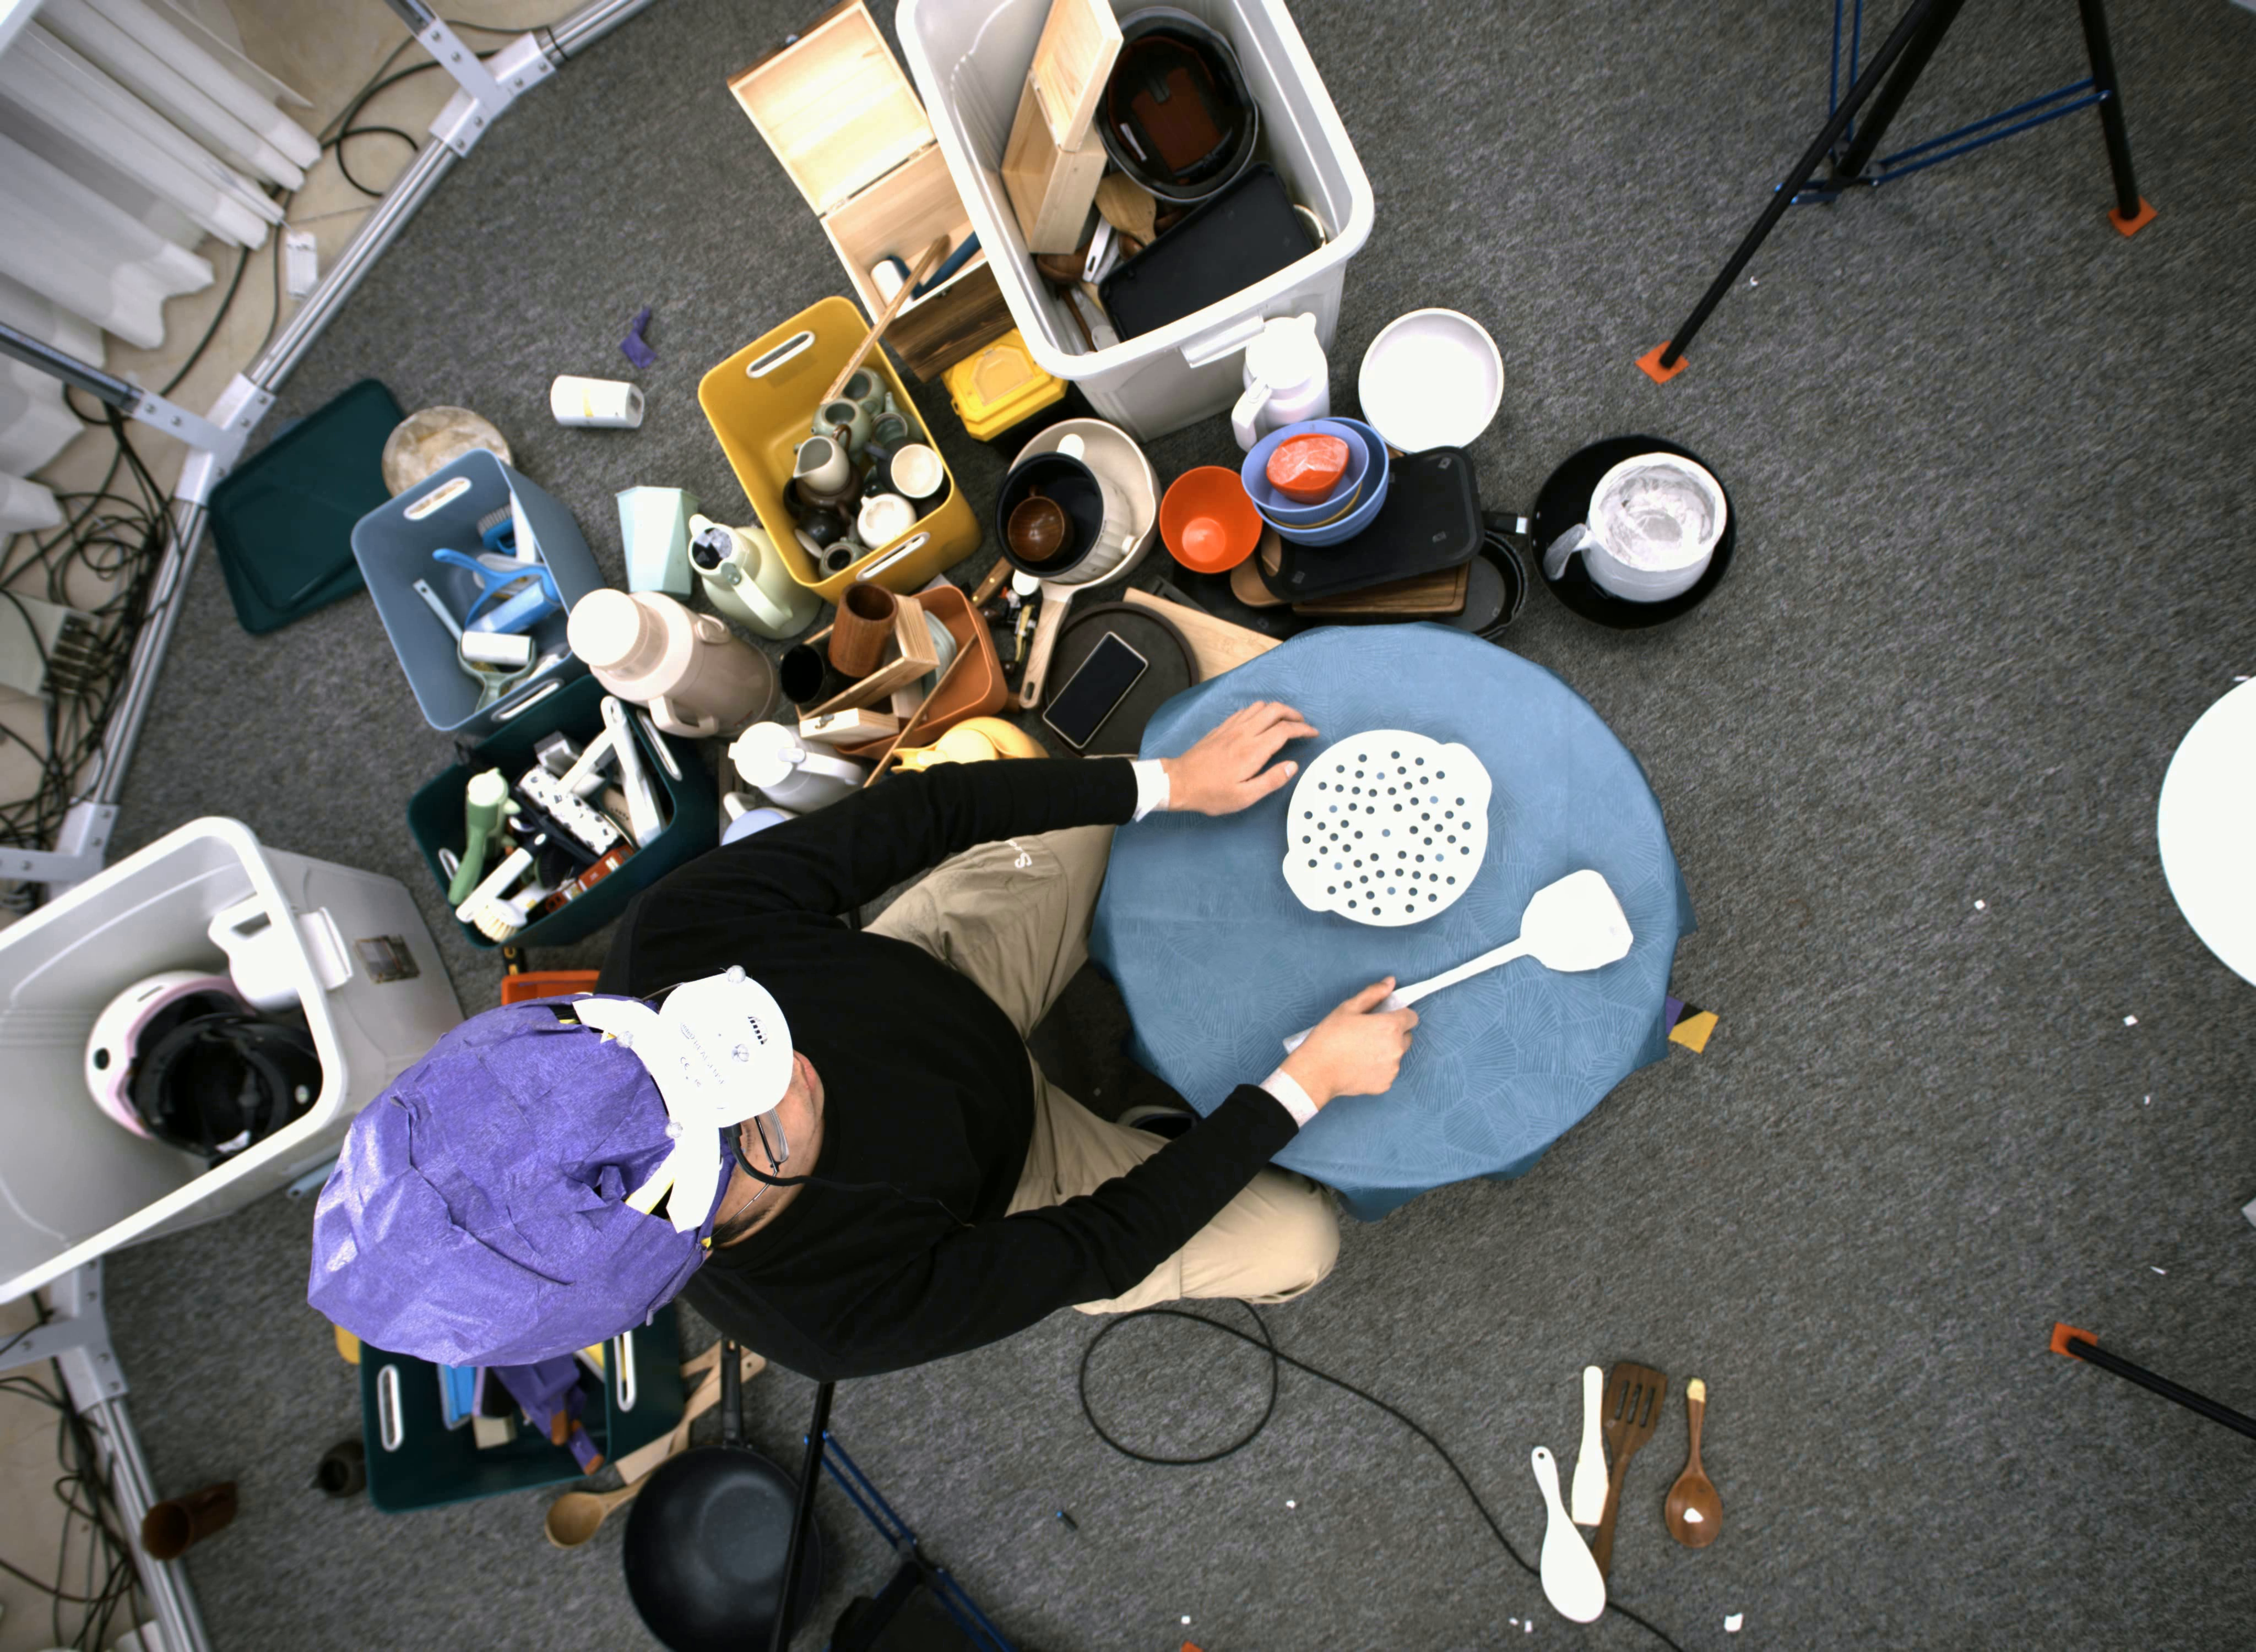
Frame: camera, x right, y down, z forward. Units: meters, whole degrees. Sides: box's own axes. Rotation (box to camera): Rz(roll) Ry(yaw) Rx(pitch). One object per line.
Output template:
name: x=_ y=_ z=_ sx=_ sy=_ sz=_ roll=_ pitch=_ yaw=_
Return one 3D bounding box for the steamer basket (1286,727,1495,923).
steamer basket: x=0.272 y=0.000 z=1.428 sx=0.232 sy=0.069 sz=0.200 roll=-35 pitch=80 yaw=8

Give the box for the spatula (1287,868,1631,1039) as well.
spatula: x=0.335 y=0.150 z=1.424 sx=0.367 sy=0.044 sz=0.098 roll=-24 pitch=85 yaw=8
